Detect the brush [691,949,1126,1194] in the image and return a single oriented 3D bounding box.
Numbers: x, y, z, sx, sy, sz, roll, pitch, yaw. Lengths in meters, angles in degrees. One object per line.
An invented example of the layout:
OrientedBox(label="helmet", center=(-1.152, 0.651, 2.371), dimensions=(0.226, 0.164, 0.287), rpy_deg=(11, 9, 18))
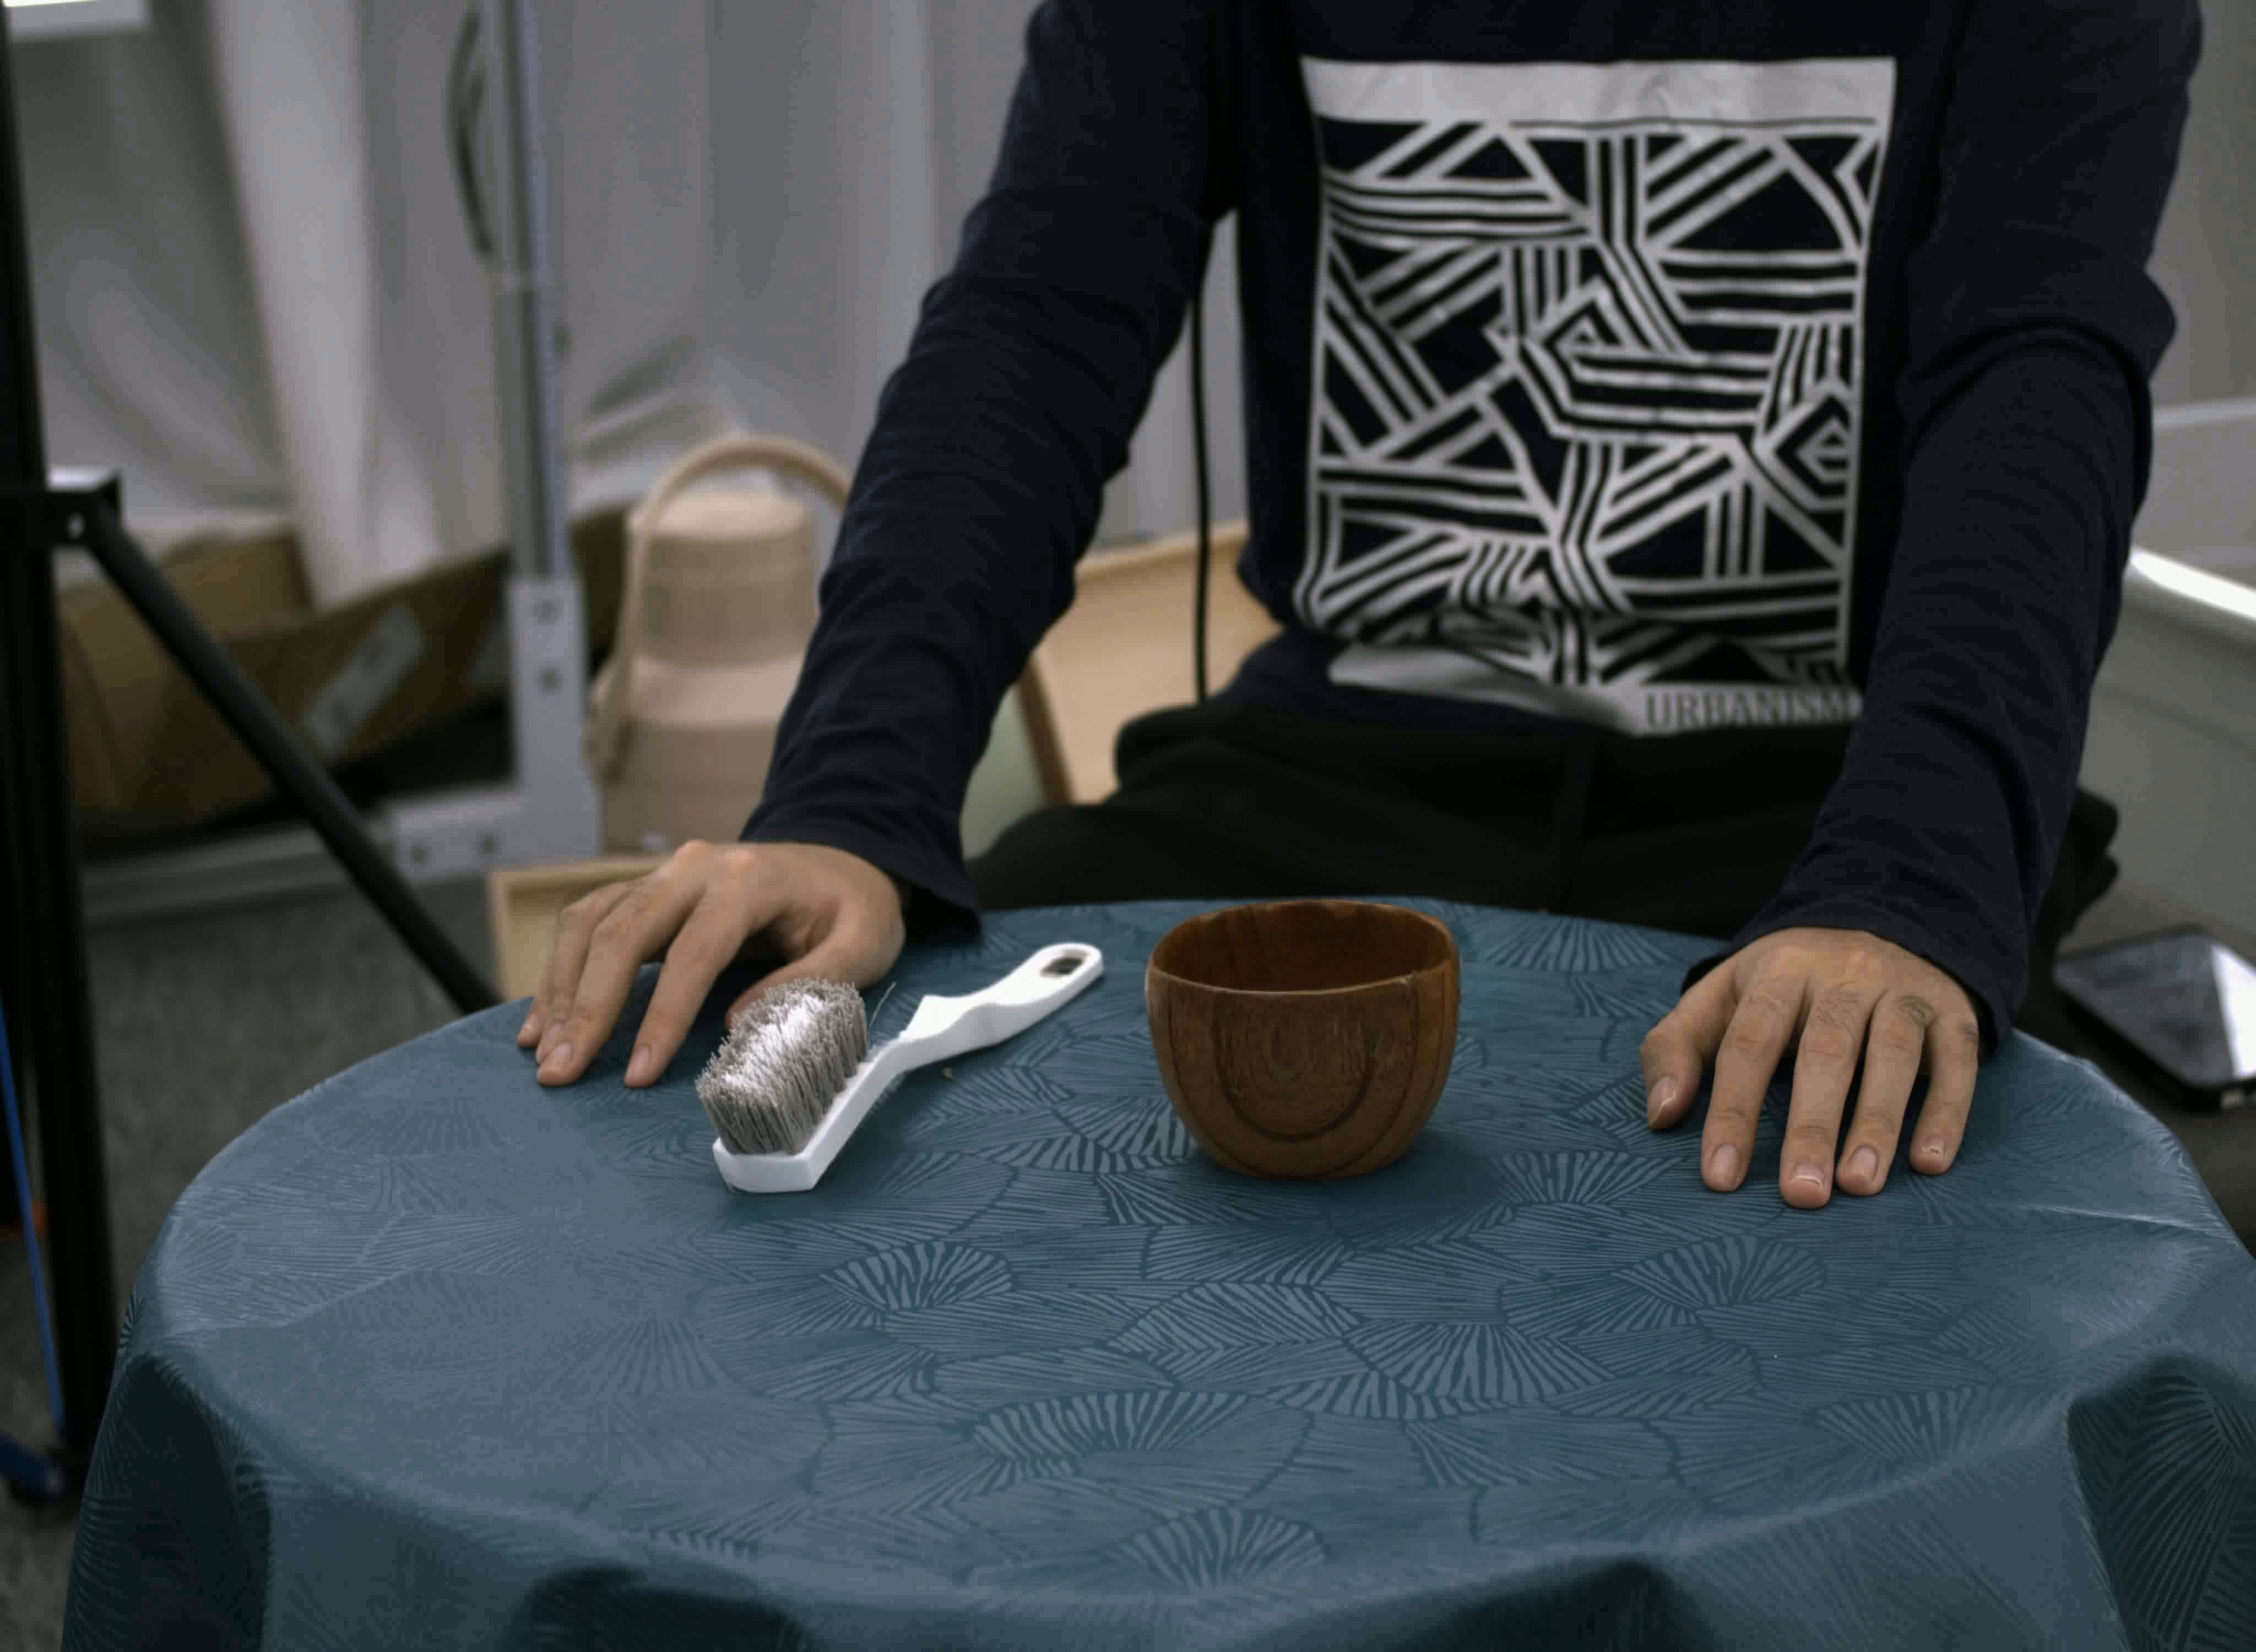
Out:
OrientedBox(label="brush", center=(-0.063, 0.057, 1.664), dimensions=(0.035, 0.050, 0.239), rpy_deg=(2, 16, 28))

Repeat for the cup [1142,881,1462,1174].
OrientedBox(label="cup", center=(0.057, 0.059, 1.595), dimensions=(0.097, 0.067, 0.118), rpy_deg=(1, 18, 17))
